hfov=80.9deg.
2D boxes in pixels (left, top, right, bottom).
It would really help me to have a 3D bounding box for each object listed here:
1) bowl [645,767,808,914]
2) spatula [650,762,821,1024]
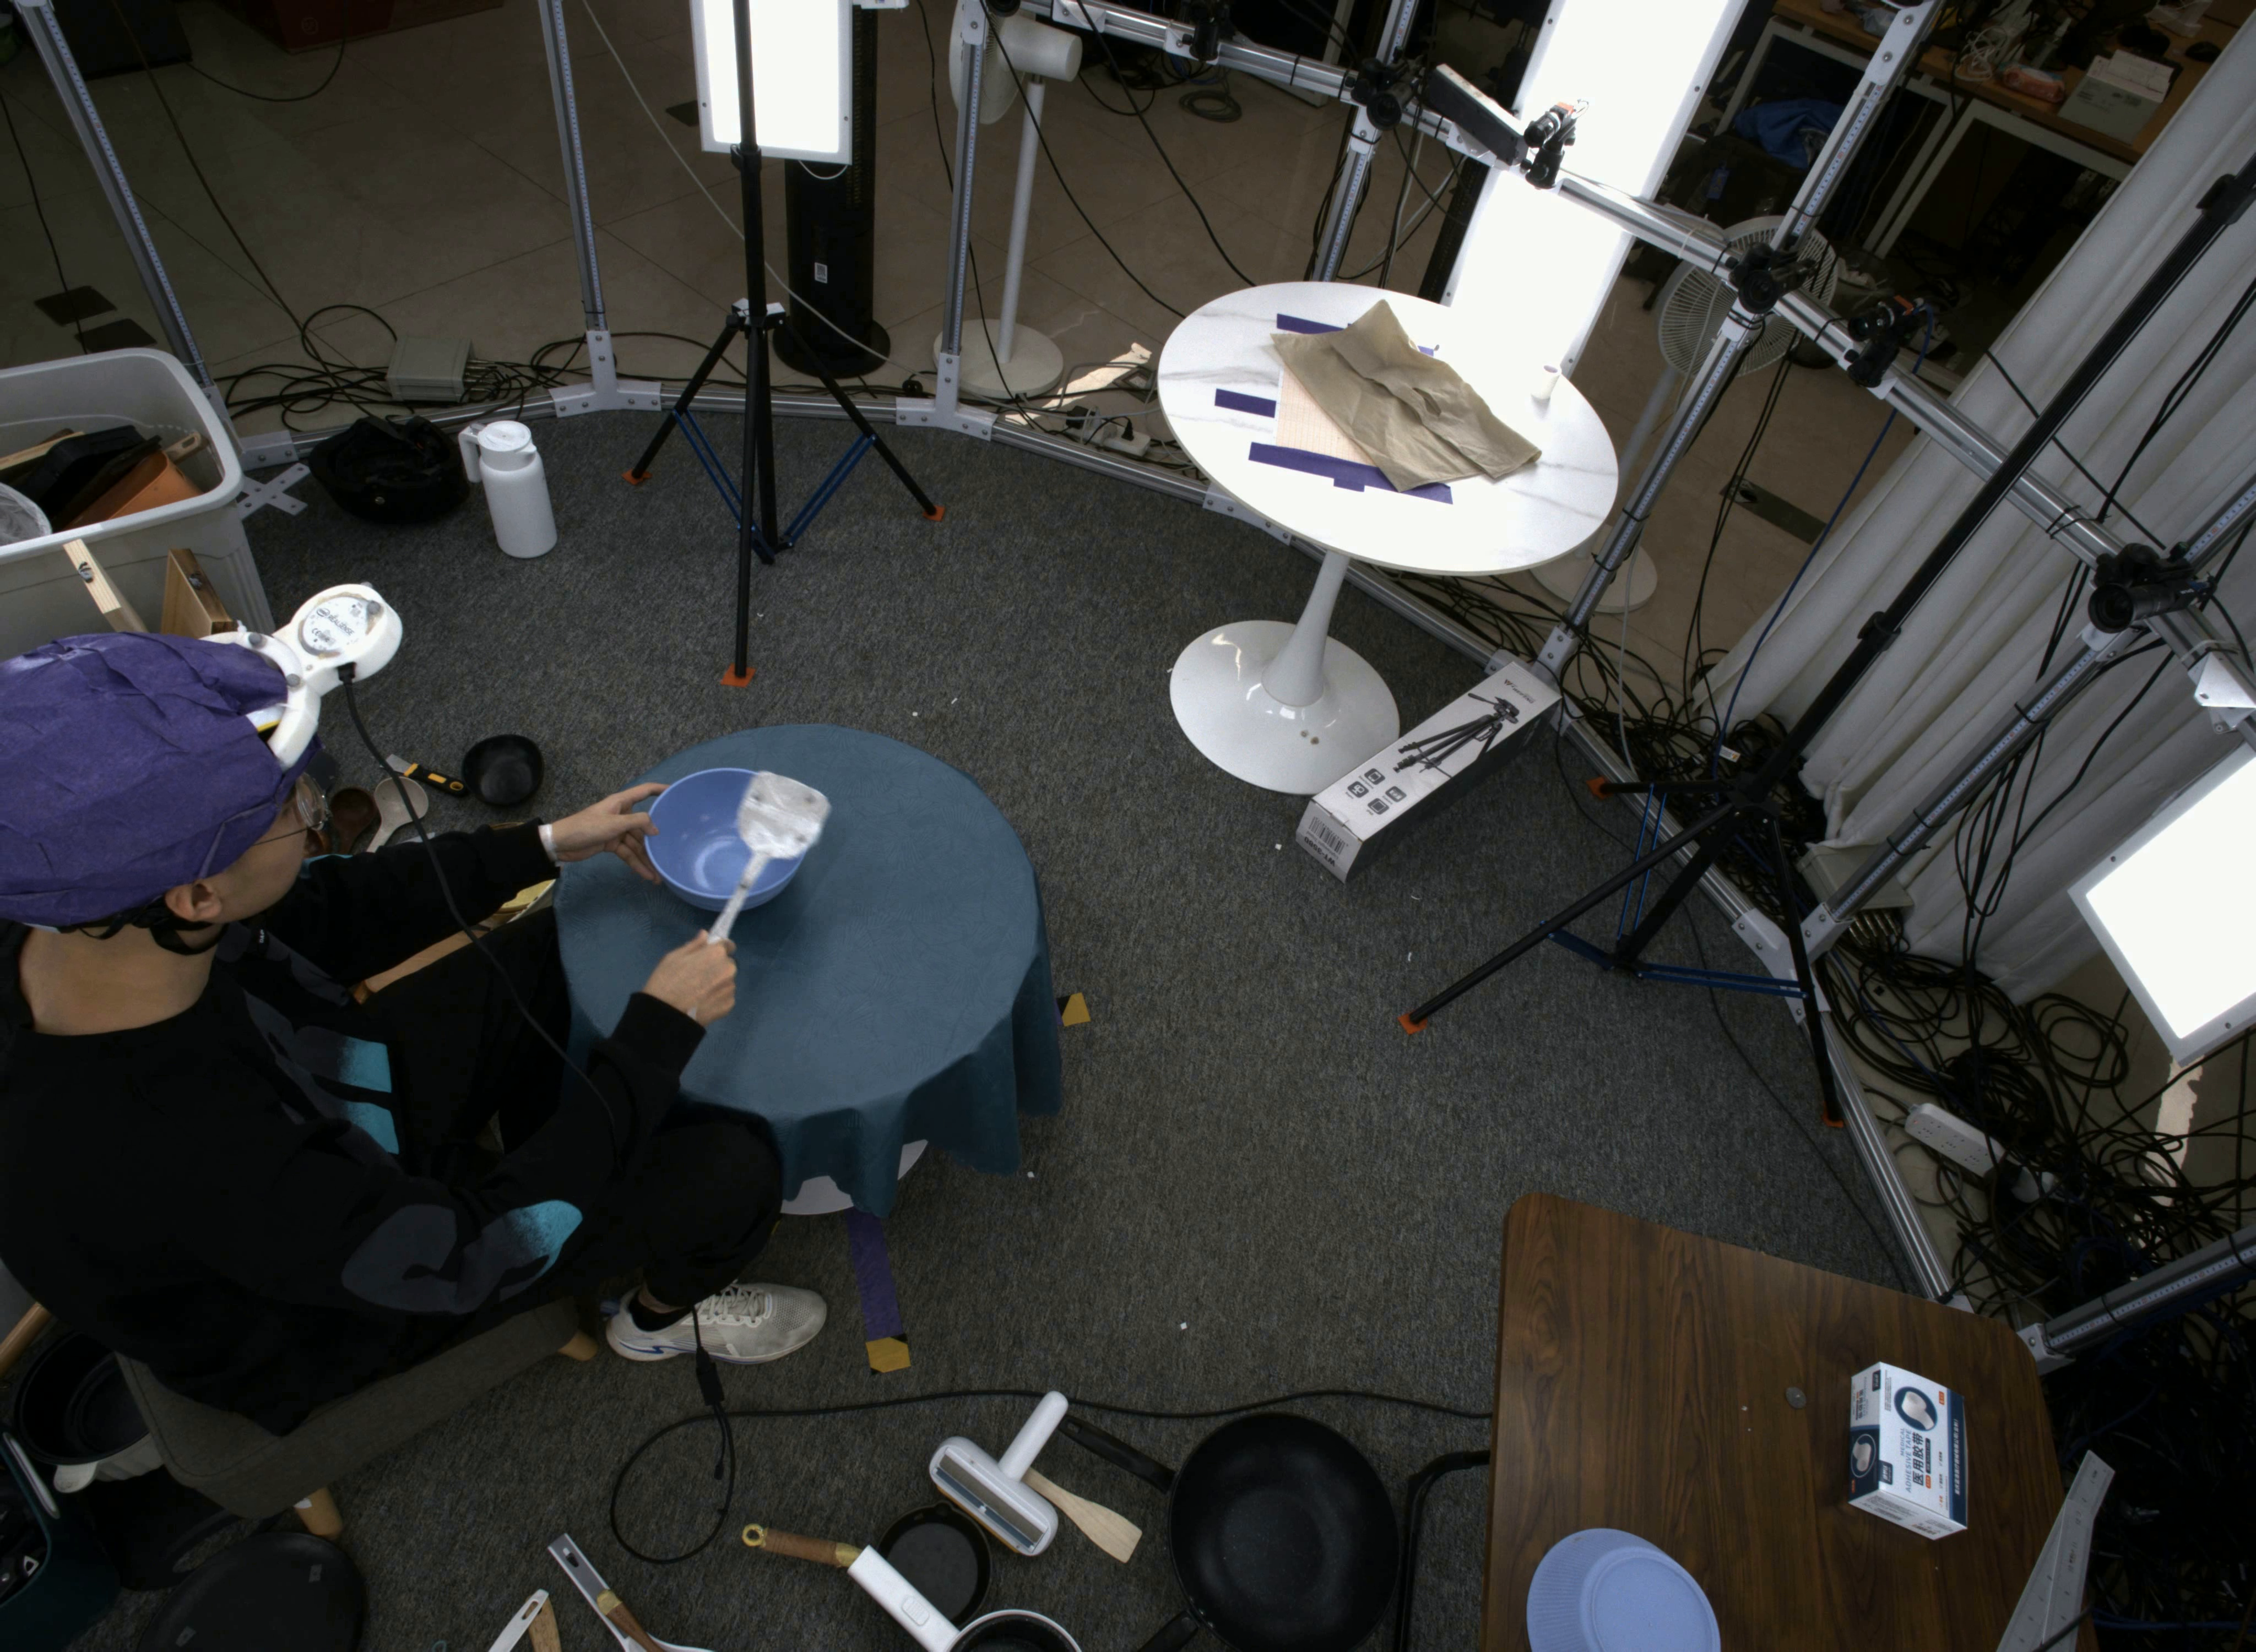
[{"bbox_3d":[-0.502,0.032,1.618,0.197,0.097,0.193,10,53,-12],"label":"bowl"},{"bbox_3d":[-0.445,0.069,1.436,0.099,0.045,0.359,26,43,-11],"label":"spatula"}]
